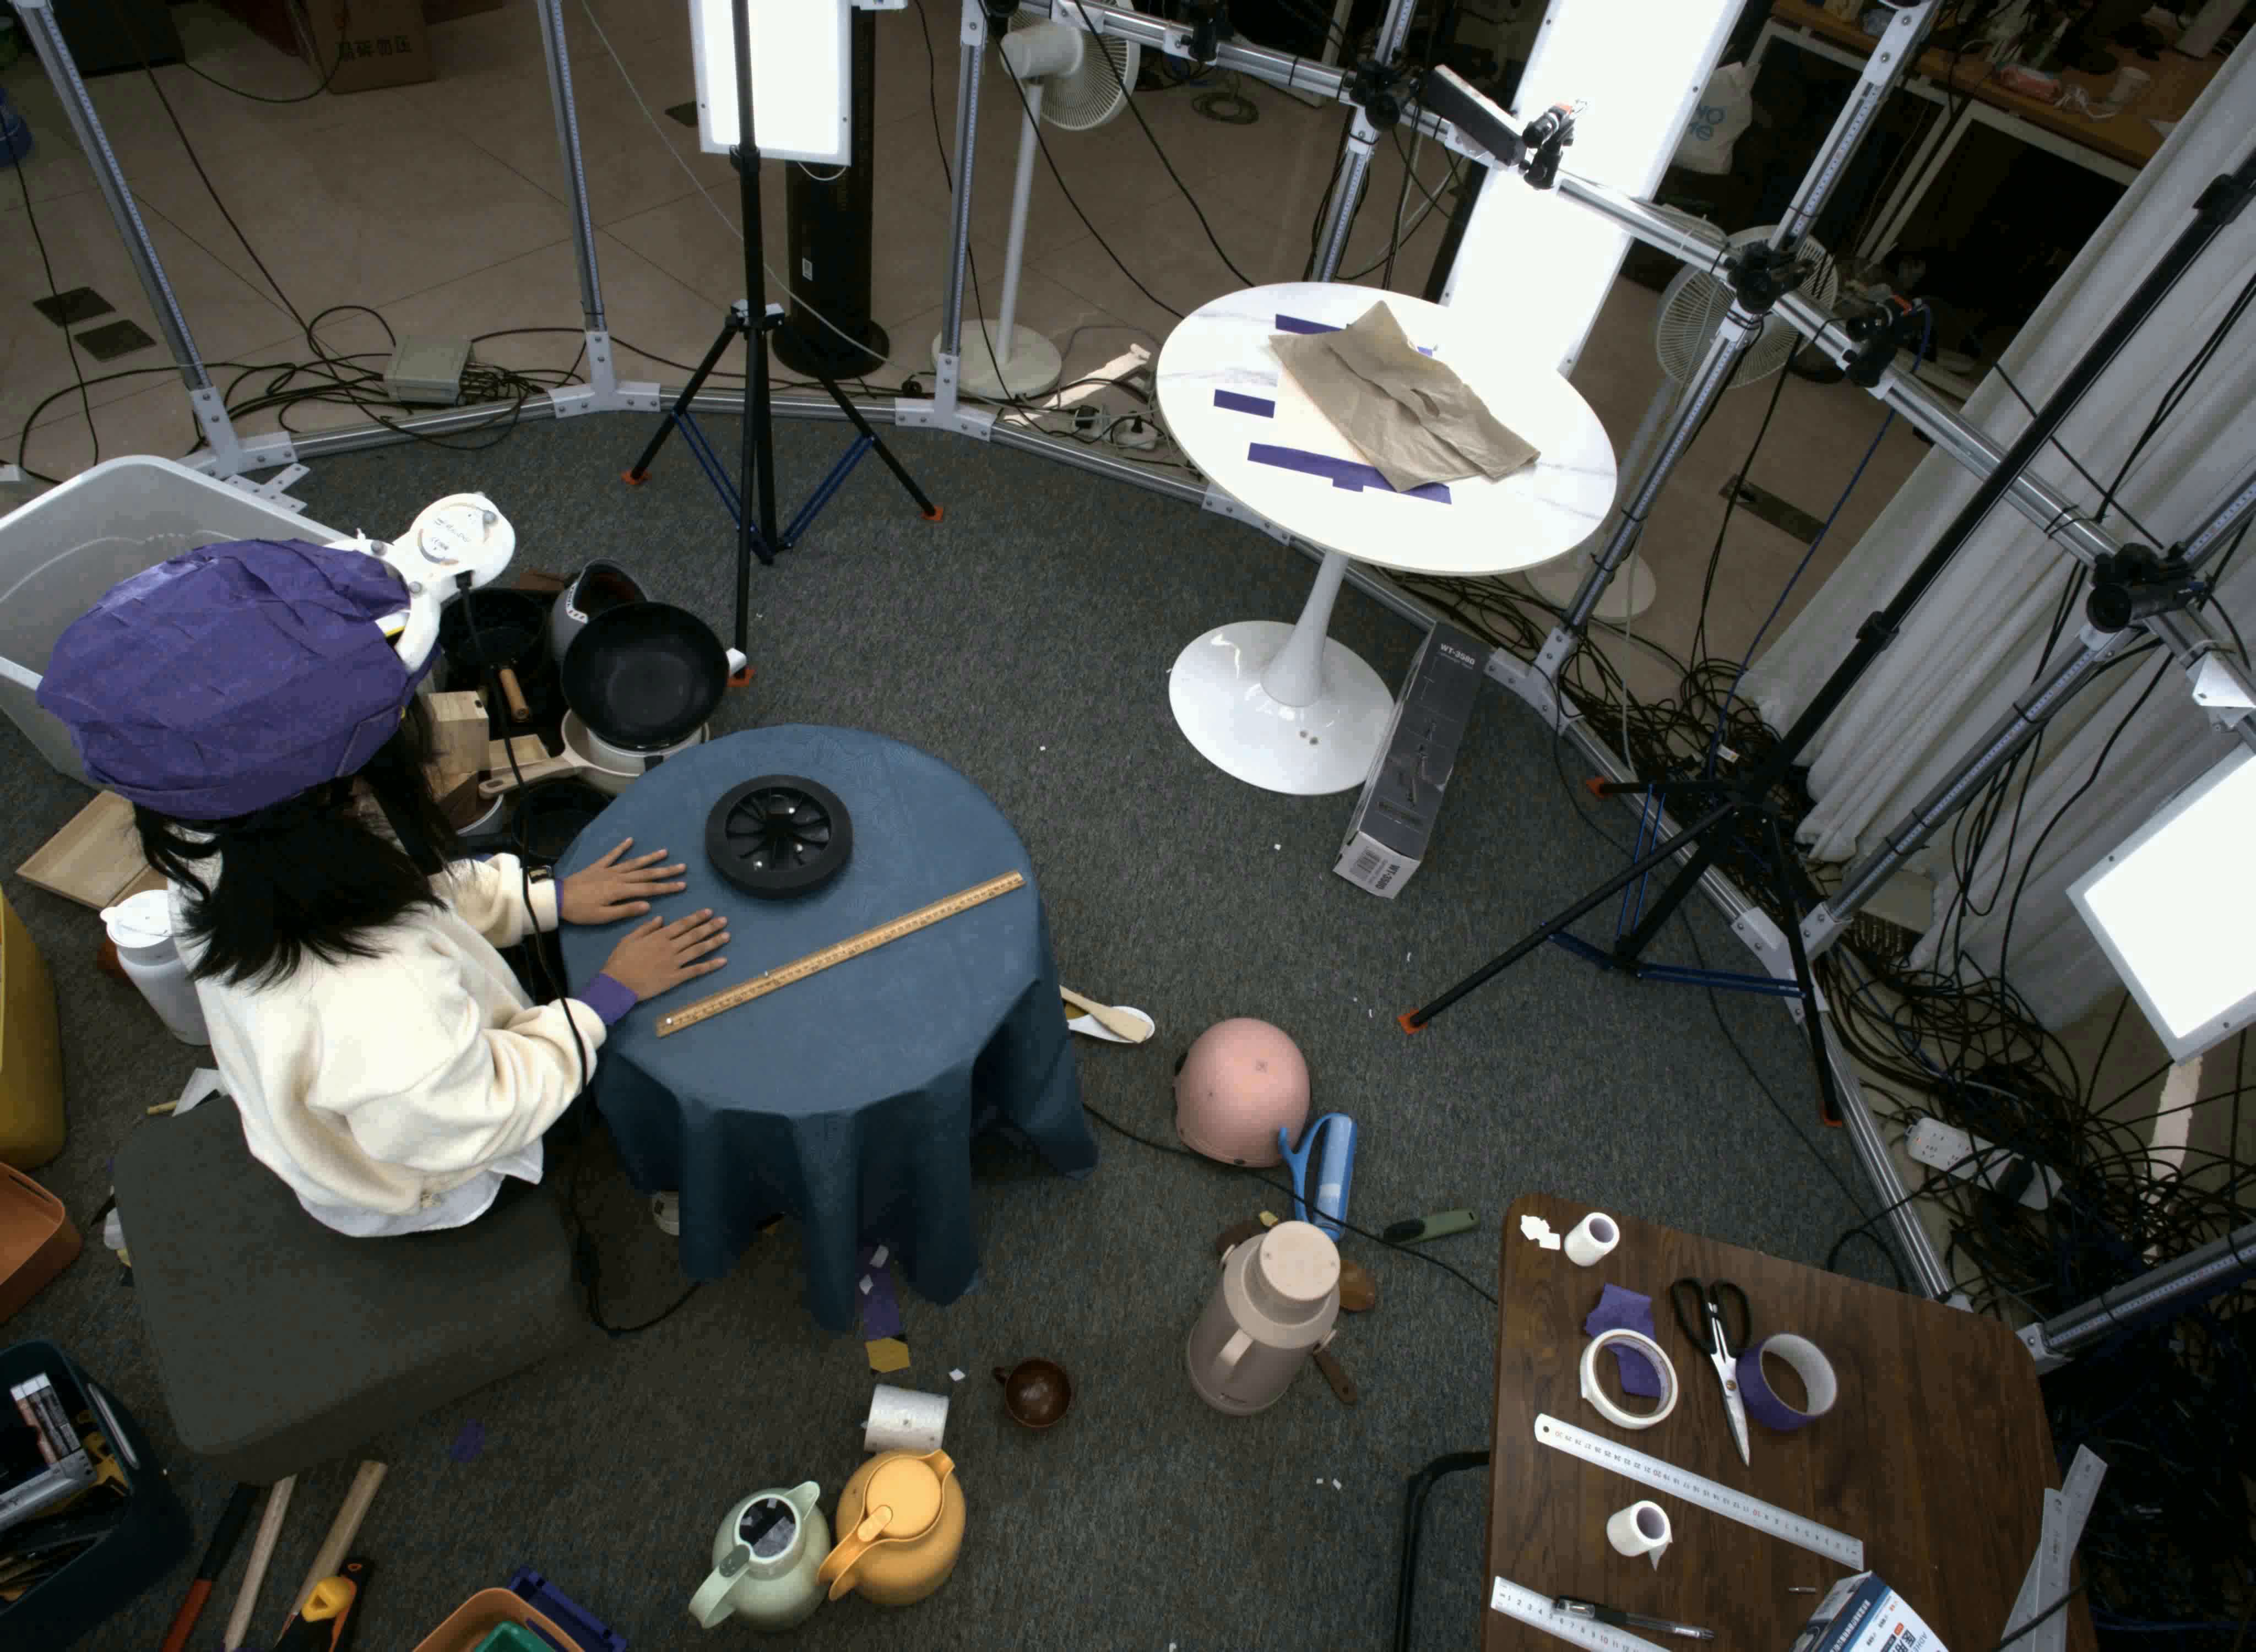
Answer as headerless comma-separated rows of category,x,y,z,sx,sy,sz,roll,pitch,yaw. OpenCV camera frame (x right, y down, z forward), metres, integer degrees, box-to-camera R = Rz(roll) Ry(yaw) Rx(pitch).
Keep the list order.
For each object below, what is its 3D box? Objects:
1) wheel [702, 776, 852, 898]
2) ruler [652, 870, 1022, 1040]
wheel,-0.452,-0.003,1.664,0.187,0.081,0.186,28,52,8
ruler,-0.350,0.153,1.621,0.503,0.006,0.026,-23,63,-28
